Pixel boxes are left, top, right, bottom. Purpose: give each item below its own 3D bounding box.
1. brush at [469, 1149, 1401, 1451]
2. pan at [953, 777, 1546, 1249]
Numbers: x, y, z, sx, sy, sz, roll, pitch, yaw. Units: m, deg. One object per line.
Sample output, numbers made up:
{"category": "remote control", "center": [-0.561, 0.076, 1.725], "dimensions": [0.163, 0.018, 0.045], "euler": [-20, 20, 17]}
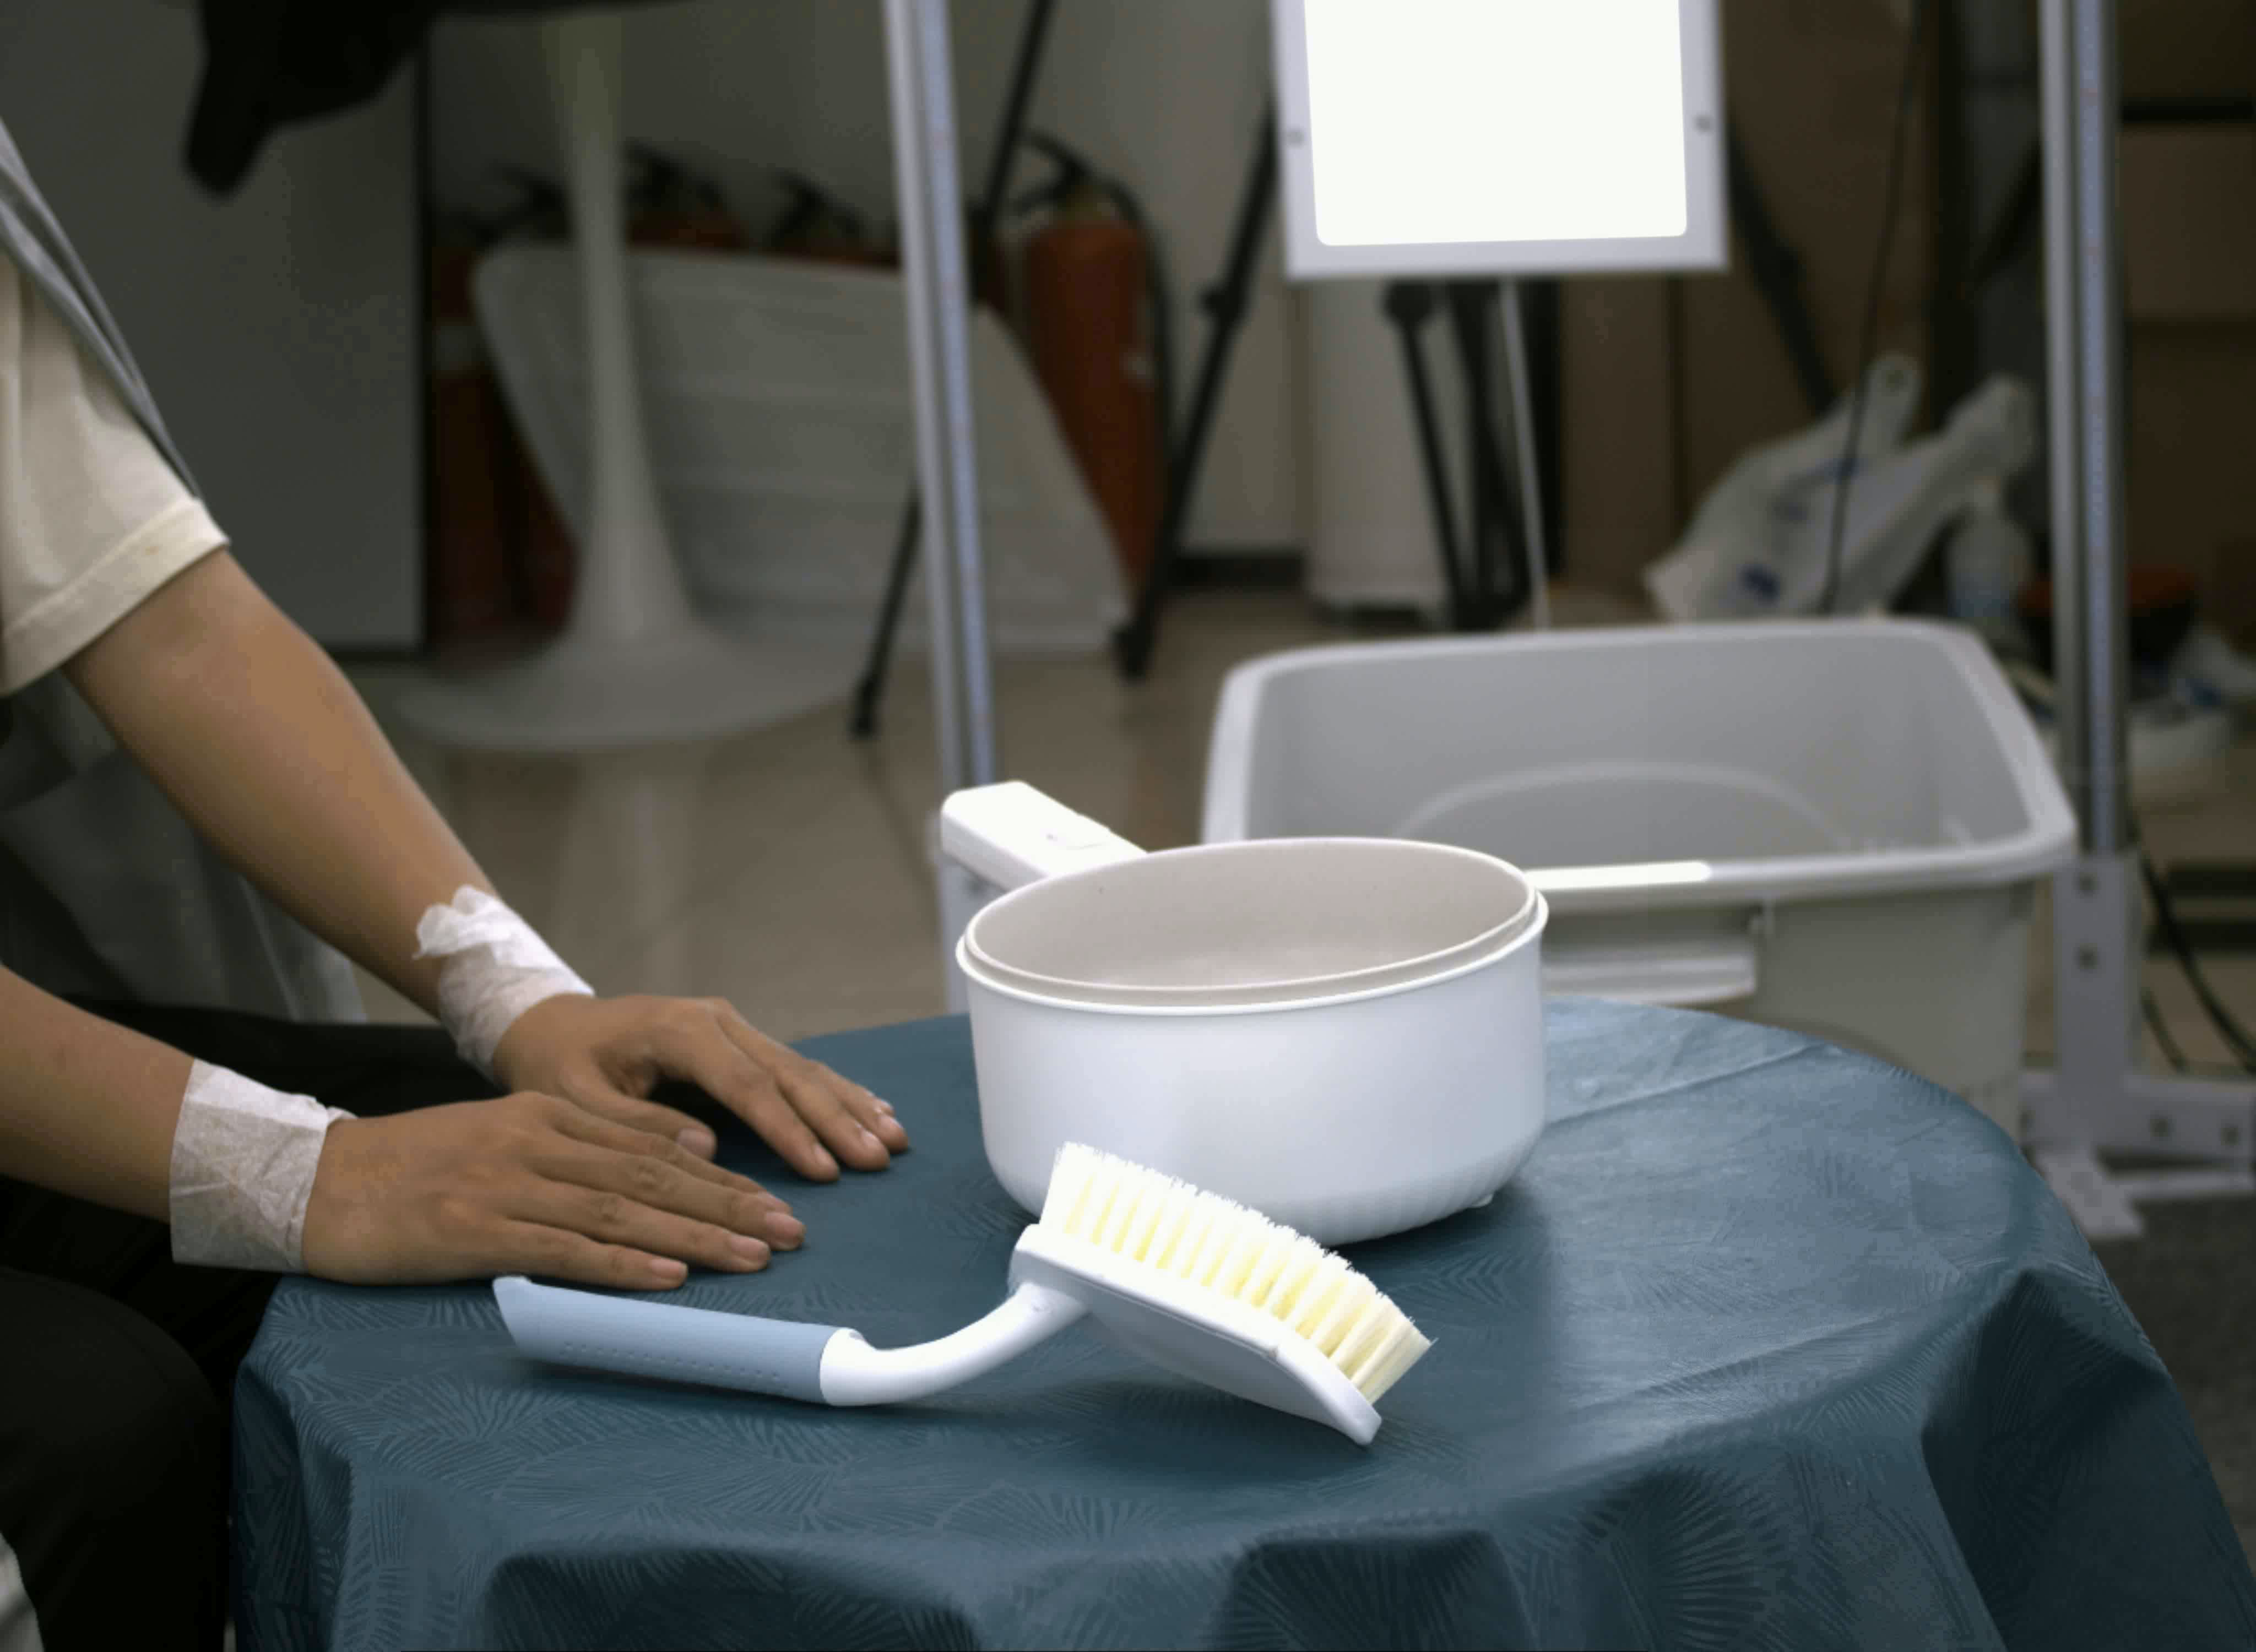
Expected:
{"category": "brush", "center": [-0.062, 0.134, 1.711], "dimensions": [0.331, 0.083, 0.082], "euler": [5, 24, 31]}
{"category": "pan", "center": [0.016, 0.062, 1.942], "dimensions": [0.198, 0.102, 0.359], "euler": [-10, 14, -19]}
